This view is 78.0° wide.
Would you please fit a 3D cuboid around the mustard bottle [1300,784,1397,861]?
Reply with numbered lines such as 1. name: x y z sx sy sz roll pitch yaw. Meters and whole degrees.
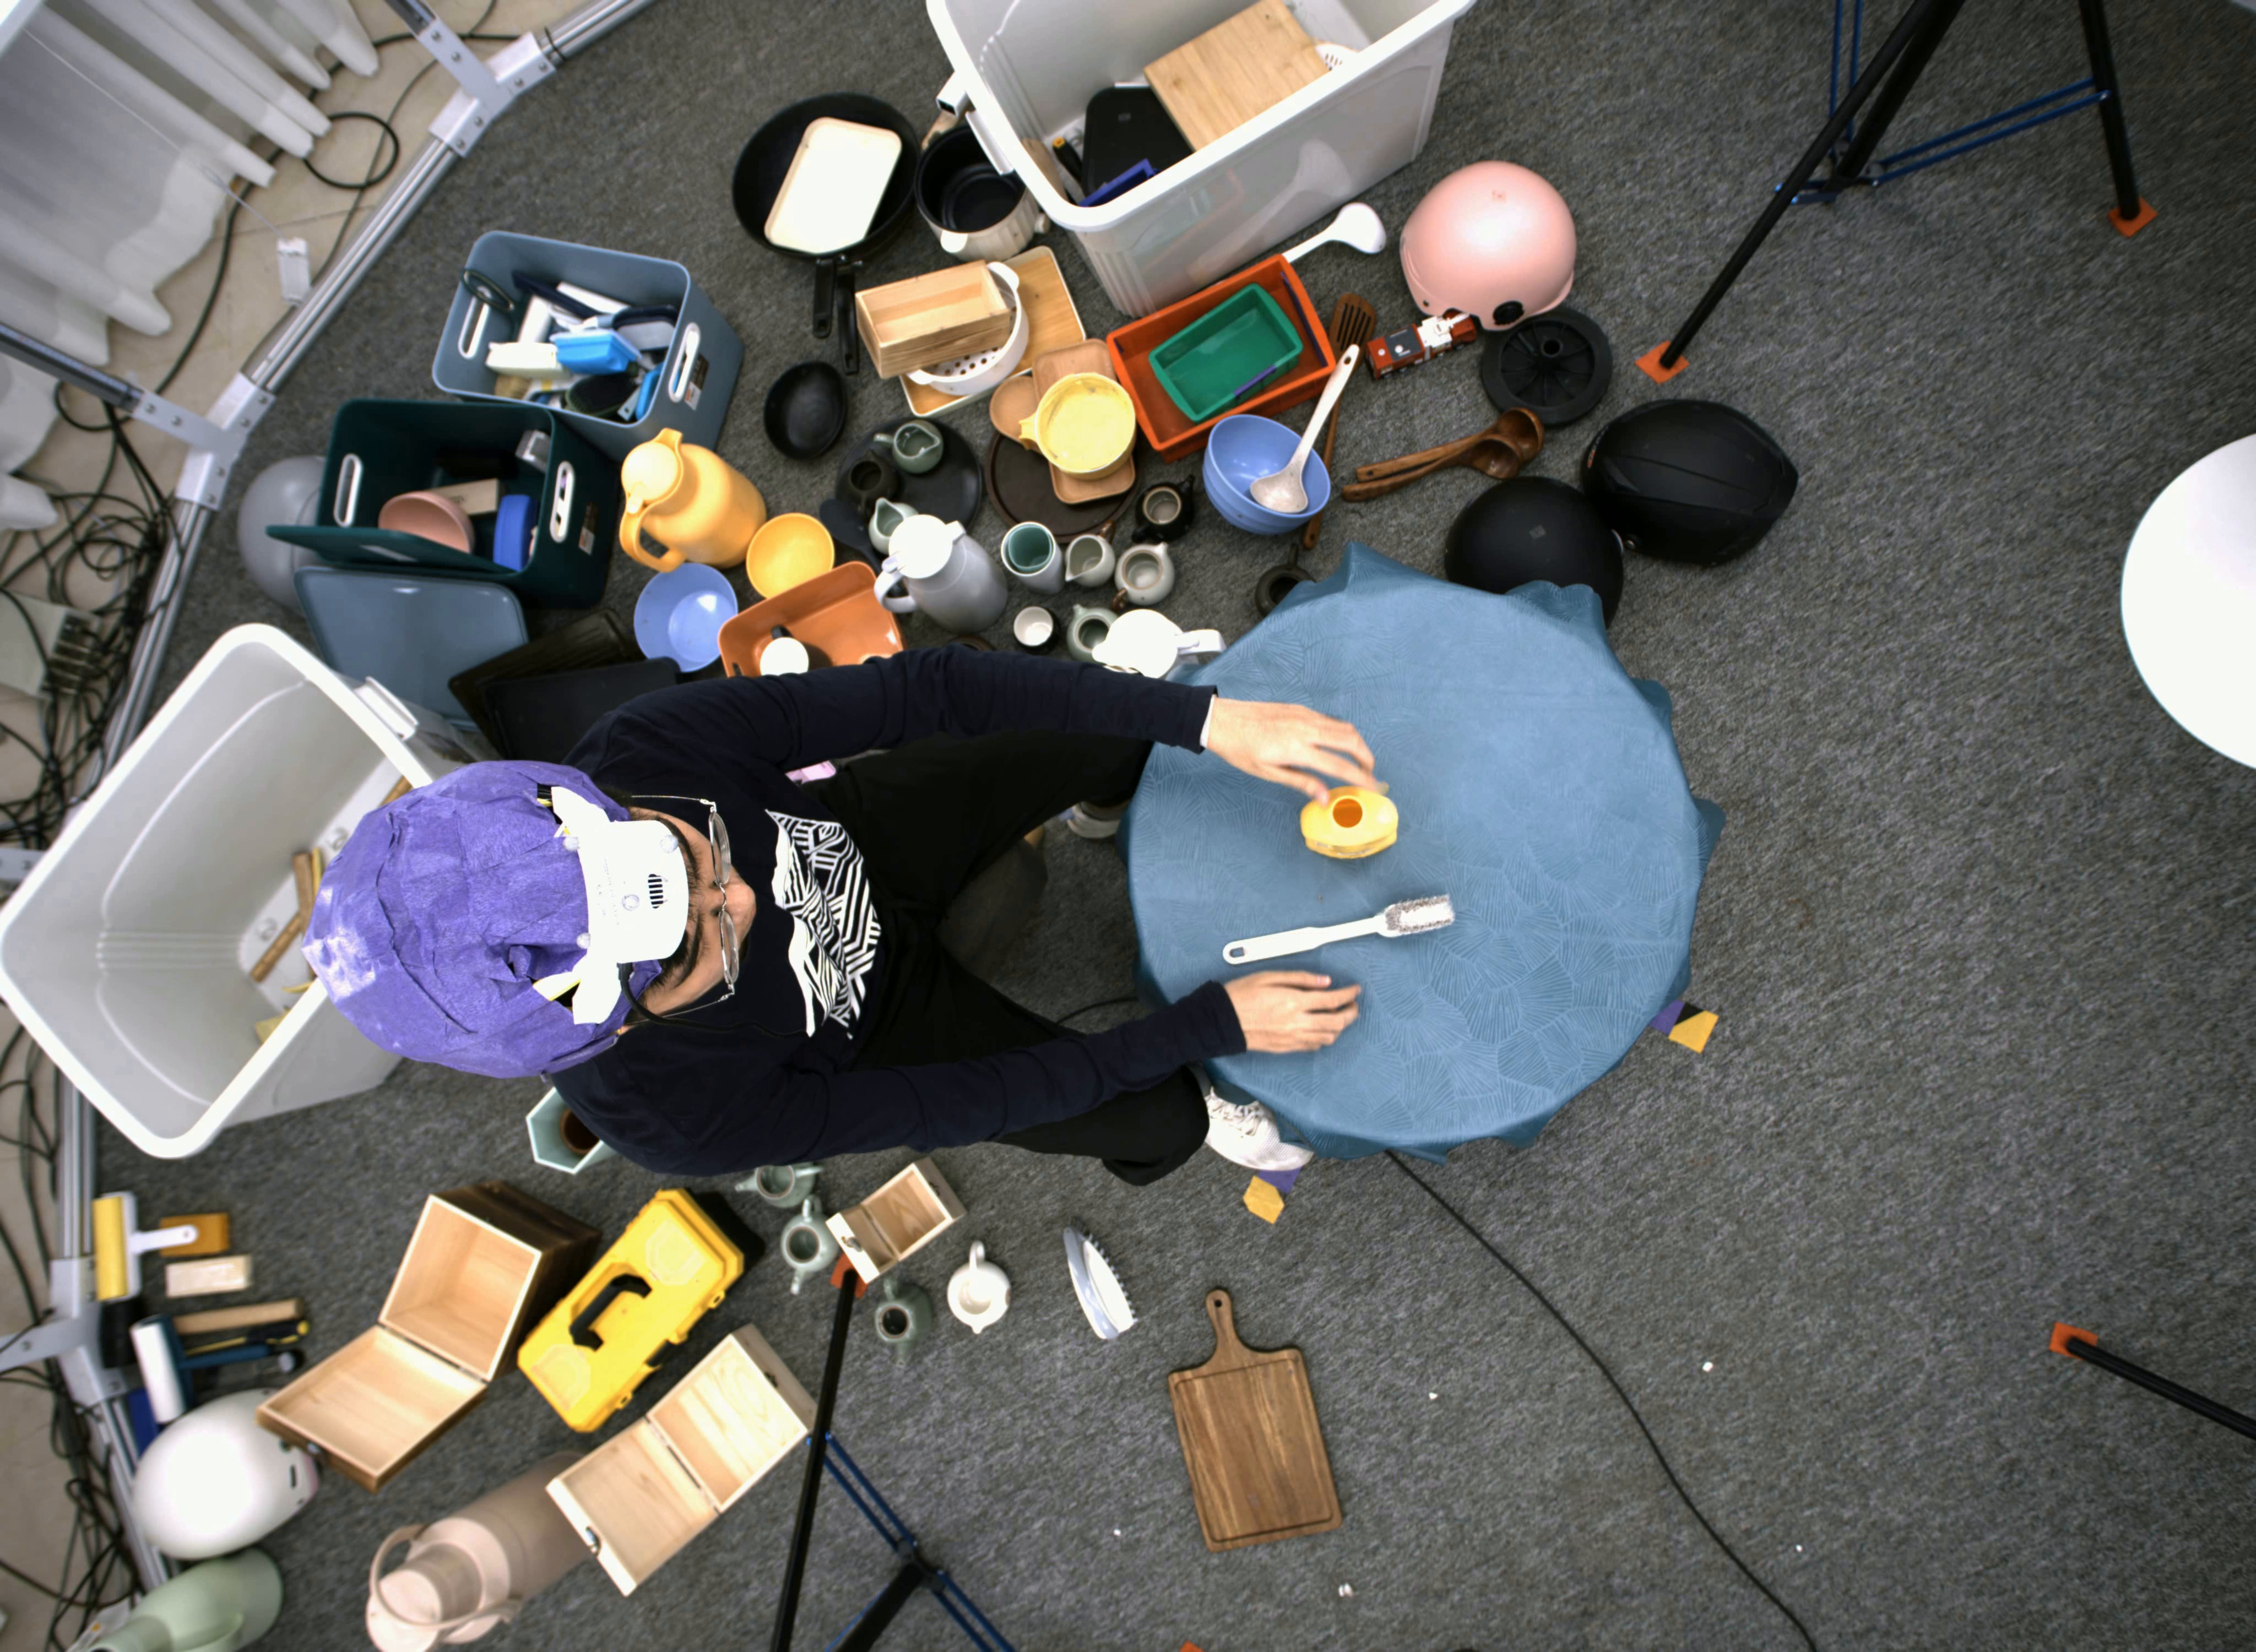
1. mustard bottle: 0.221 -0.004 1.385 0.099 0.172 0.059 -9 80 11

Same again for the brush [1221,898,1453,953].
1. brush: 0.215 0.106 1.443 0.245 0.050 0.034 -9 88 10
